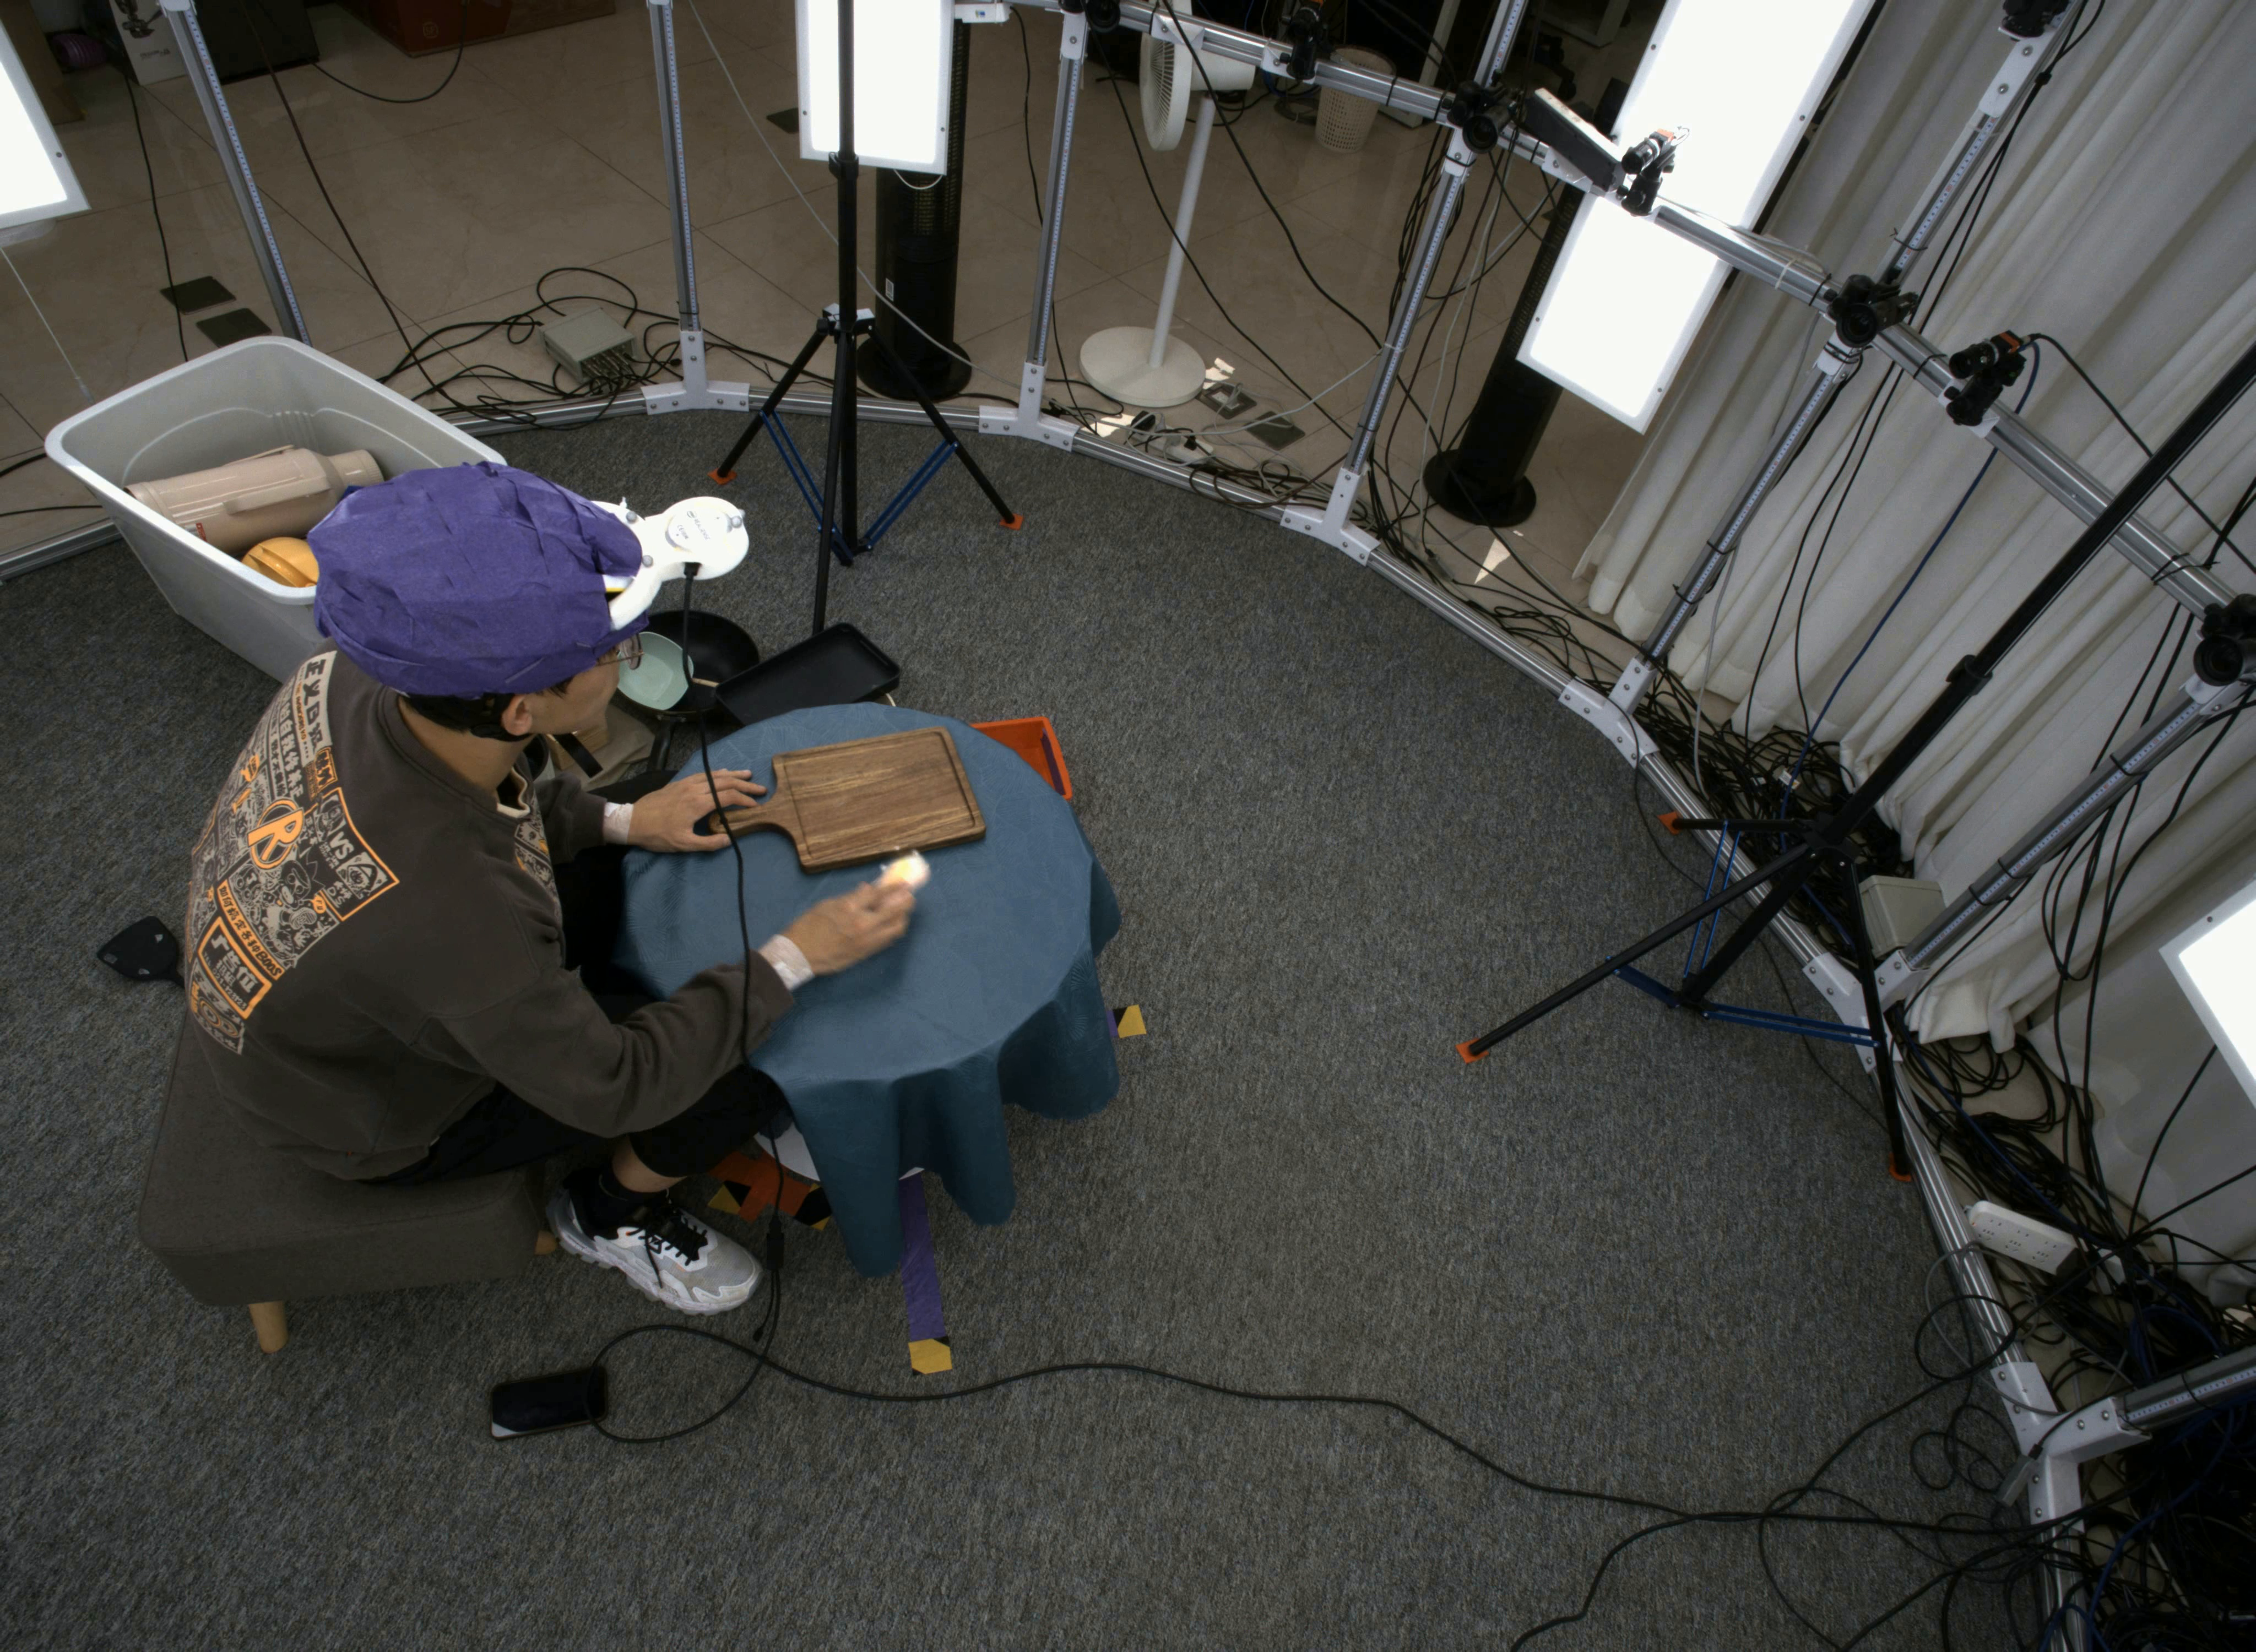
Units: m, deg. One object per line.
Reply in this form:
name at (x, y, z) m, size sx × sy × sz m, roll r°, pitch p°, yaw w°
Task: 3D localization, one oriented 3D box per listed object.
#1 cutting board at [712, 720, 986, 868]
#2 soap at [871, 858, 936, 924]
cutting board at (-0.386, -0.041, 1.764) m, size 0.353 × 0.023 × 0.196 m, roll -11°, pitch 58°, yaw -21°
soap at (-0.283, 0.080, 1.640) m, size 0.050 × 0.031 × 0.094 m, roll 32°, pitch 58°, yaw 8°
